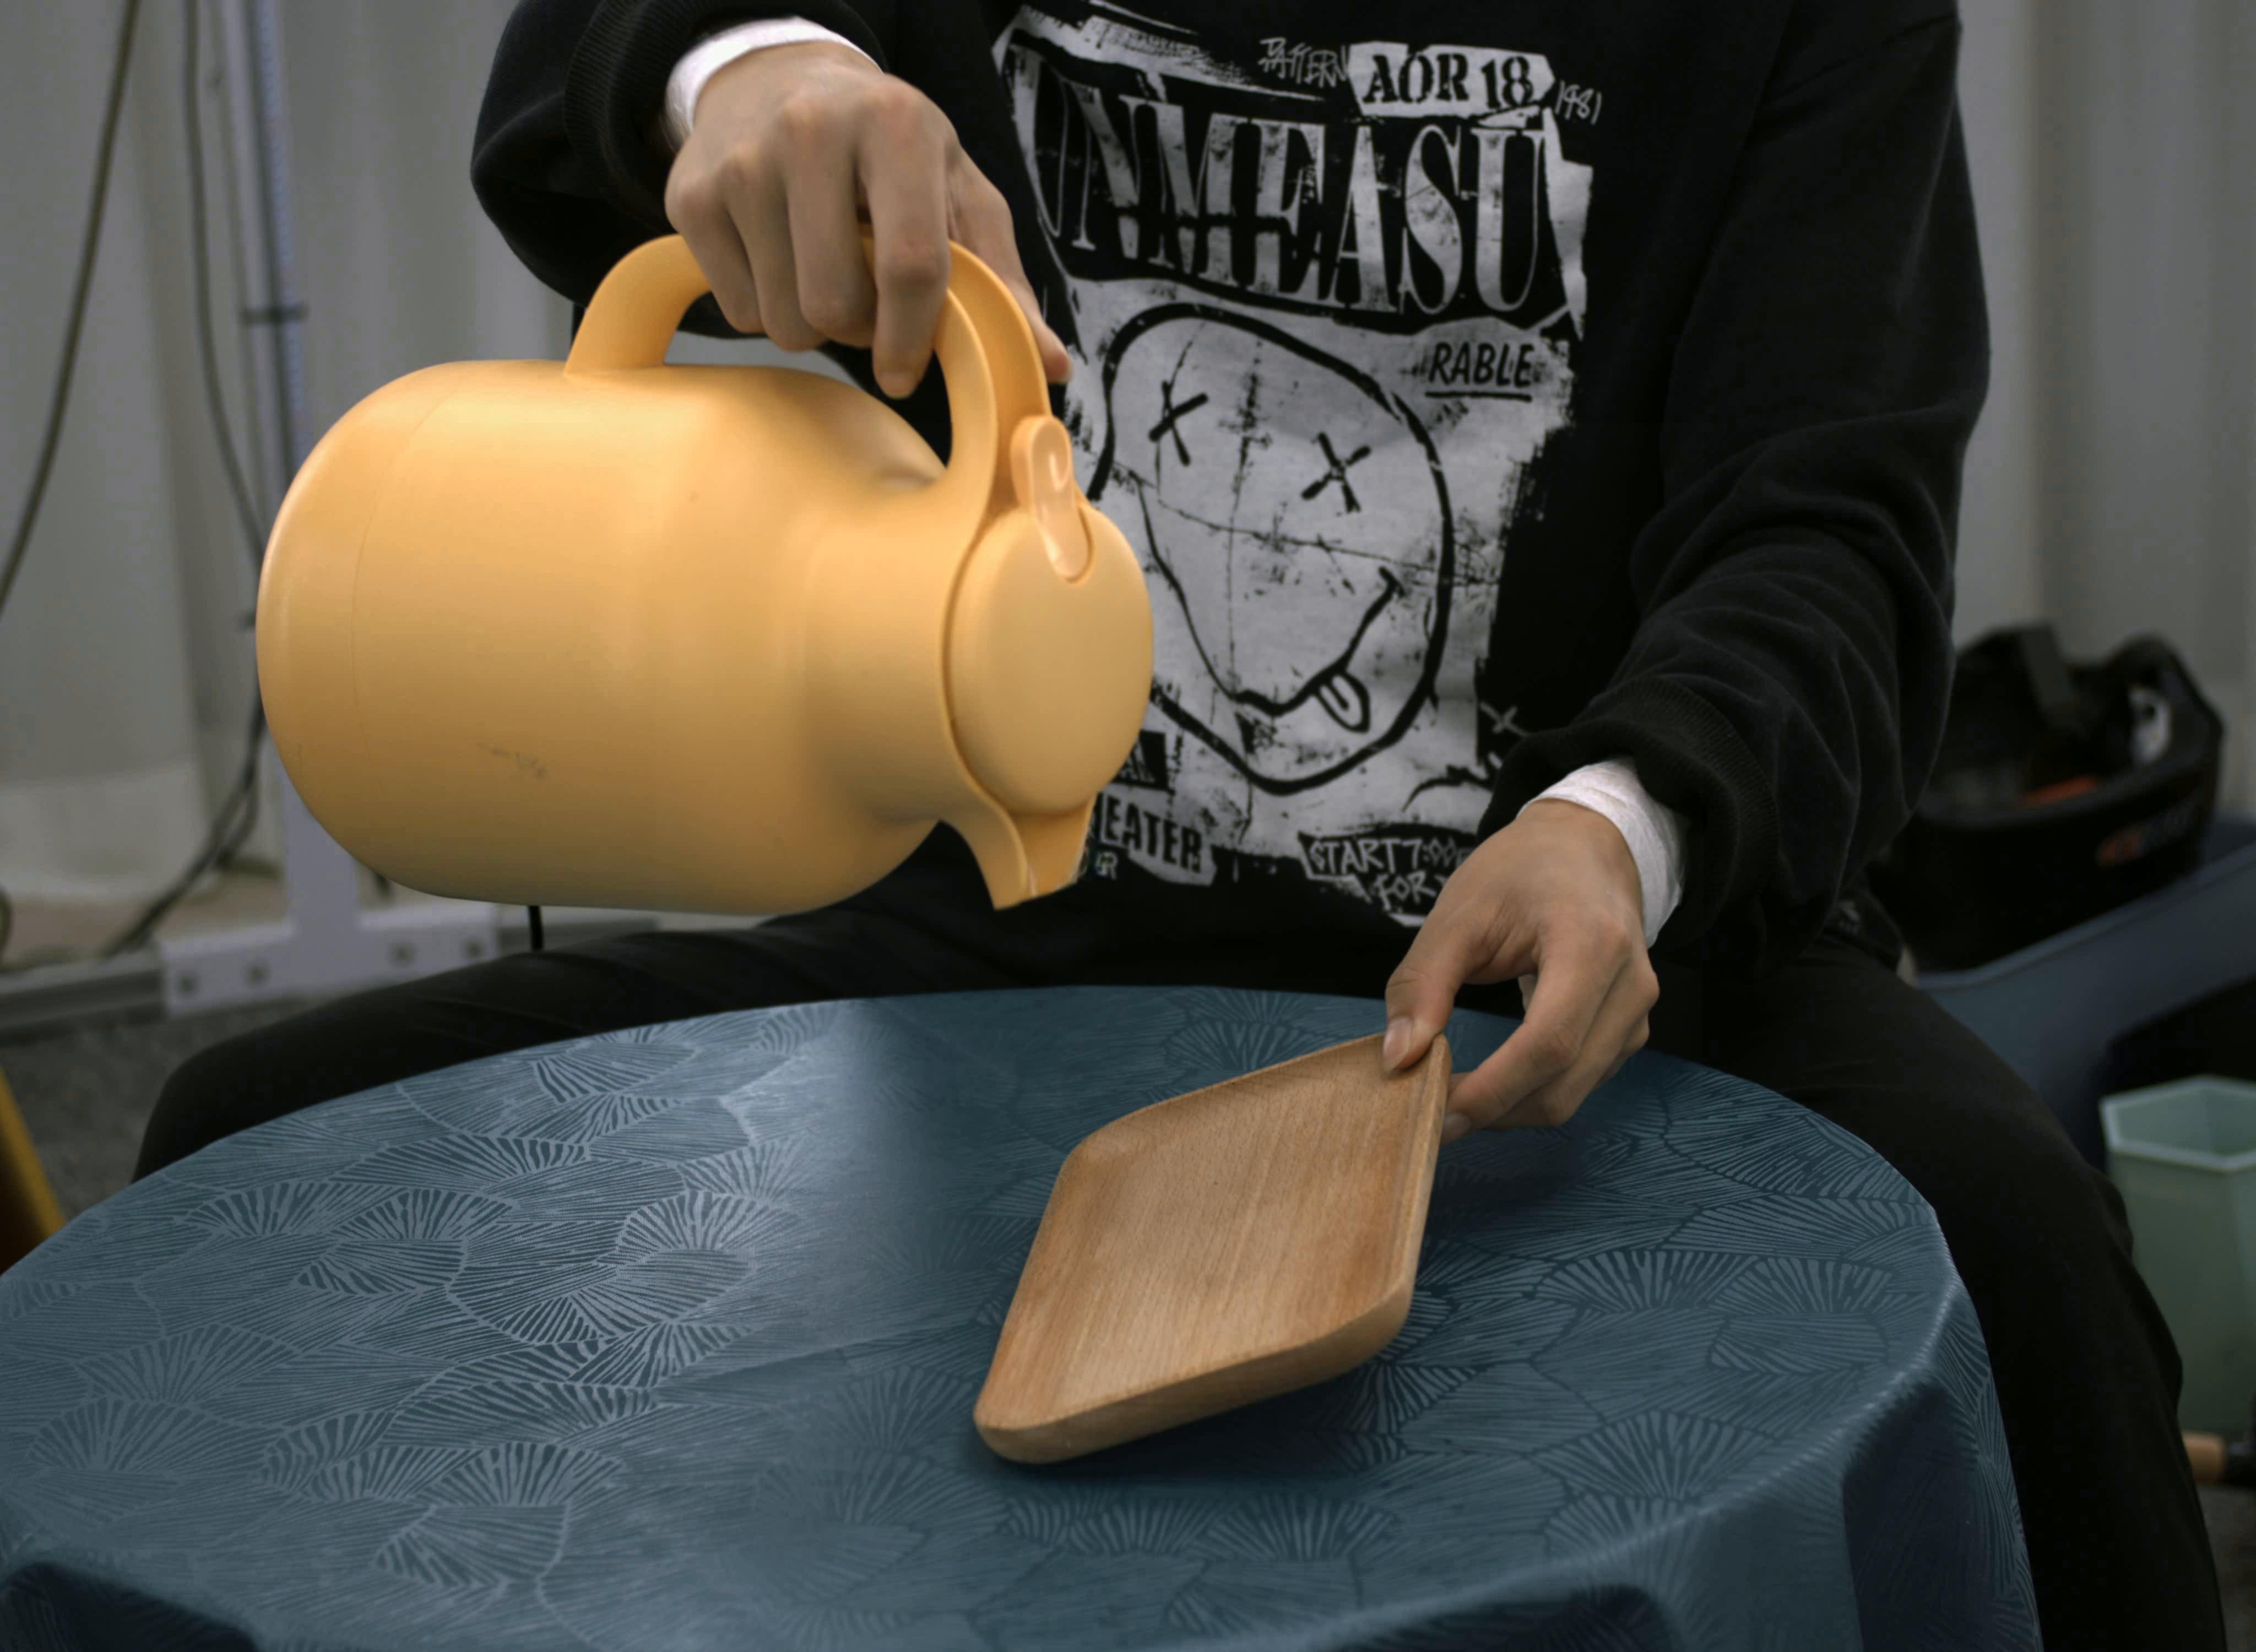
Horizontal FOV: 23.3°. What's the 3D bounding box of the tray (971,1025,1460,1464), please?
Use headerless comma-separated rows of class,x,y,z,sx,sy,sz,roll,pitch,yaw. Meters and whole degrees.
tray,0.030,0.119,1.585,0.130,0.023,0.252,-16,14,12

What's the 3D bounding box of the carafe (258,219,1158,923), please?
carafe,-0.116,-0.076,1.595,0.261,0.202,0.163,7,10,33
